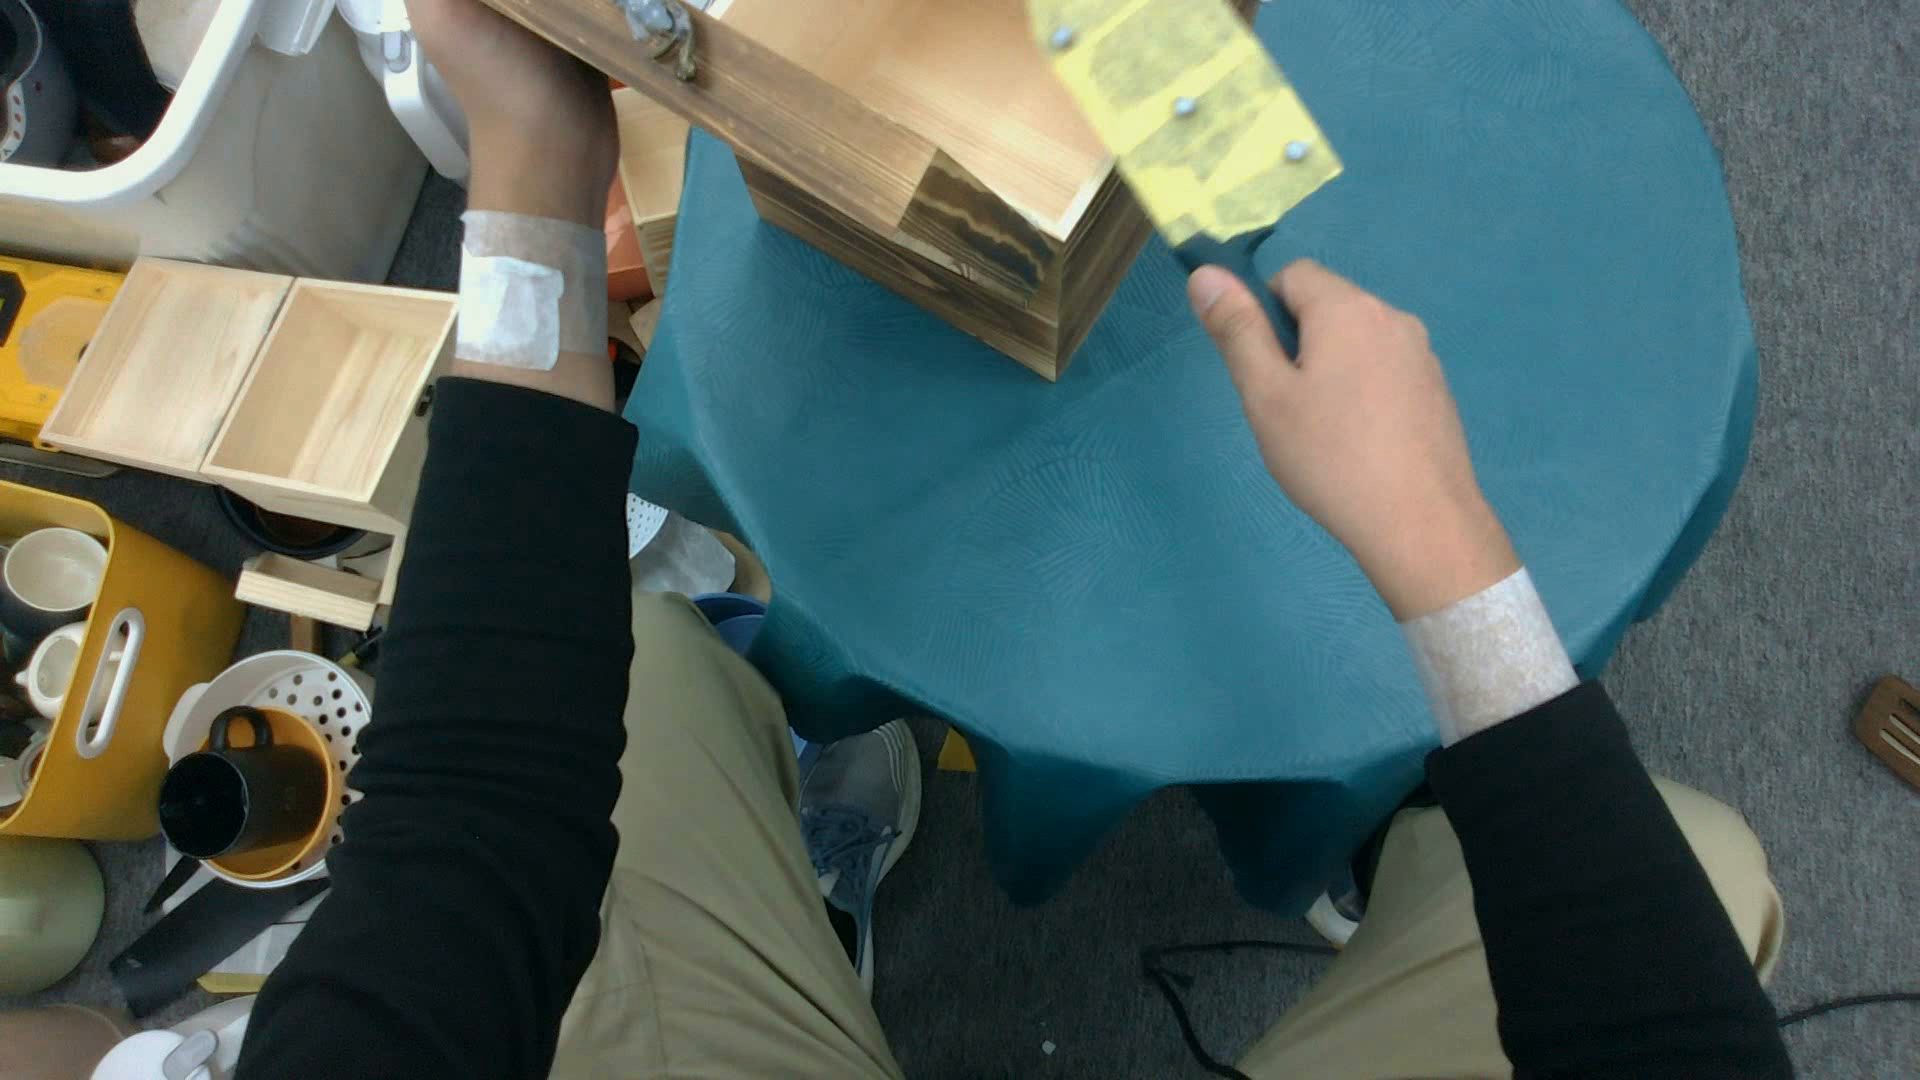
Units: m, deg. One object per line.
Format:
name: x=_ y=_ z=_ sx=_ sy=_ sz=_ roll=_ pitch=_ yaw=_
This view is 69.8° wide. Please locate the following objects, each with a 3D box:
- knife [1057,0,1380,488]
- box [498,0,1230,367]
knife: x=0.113 y=-0.159 z=0.569 sx=0.081 sy=0.027 sz=0.289 roll=-25 pitch=85 yaw=19
box: x=-0.021 y=-0.227 z=0.617 sx=0.209 sy=0.374 sz=0.323 roll=30 pitch=79 yaw=8
